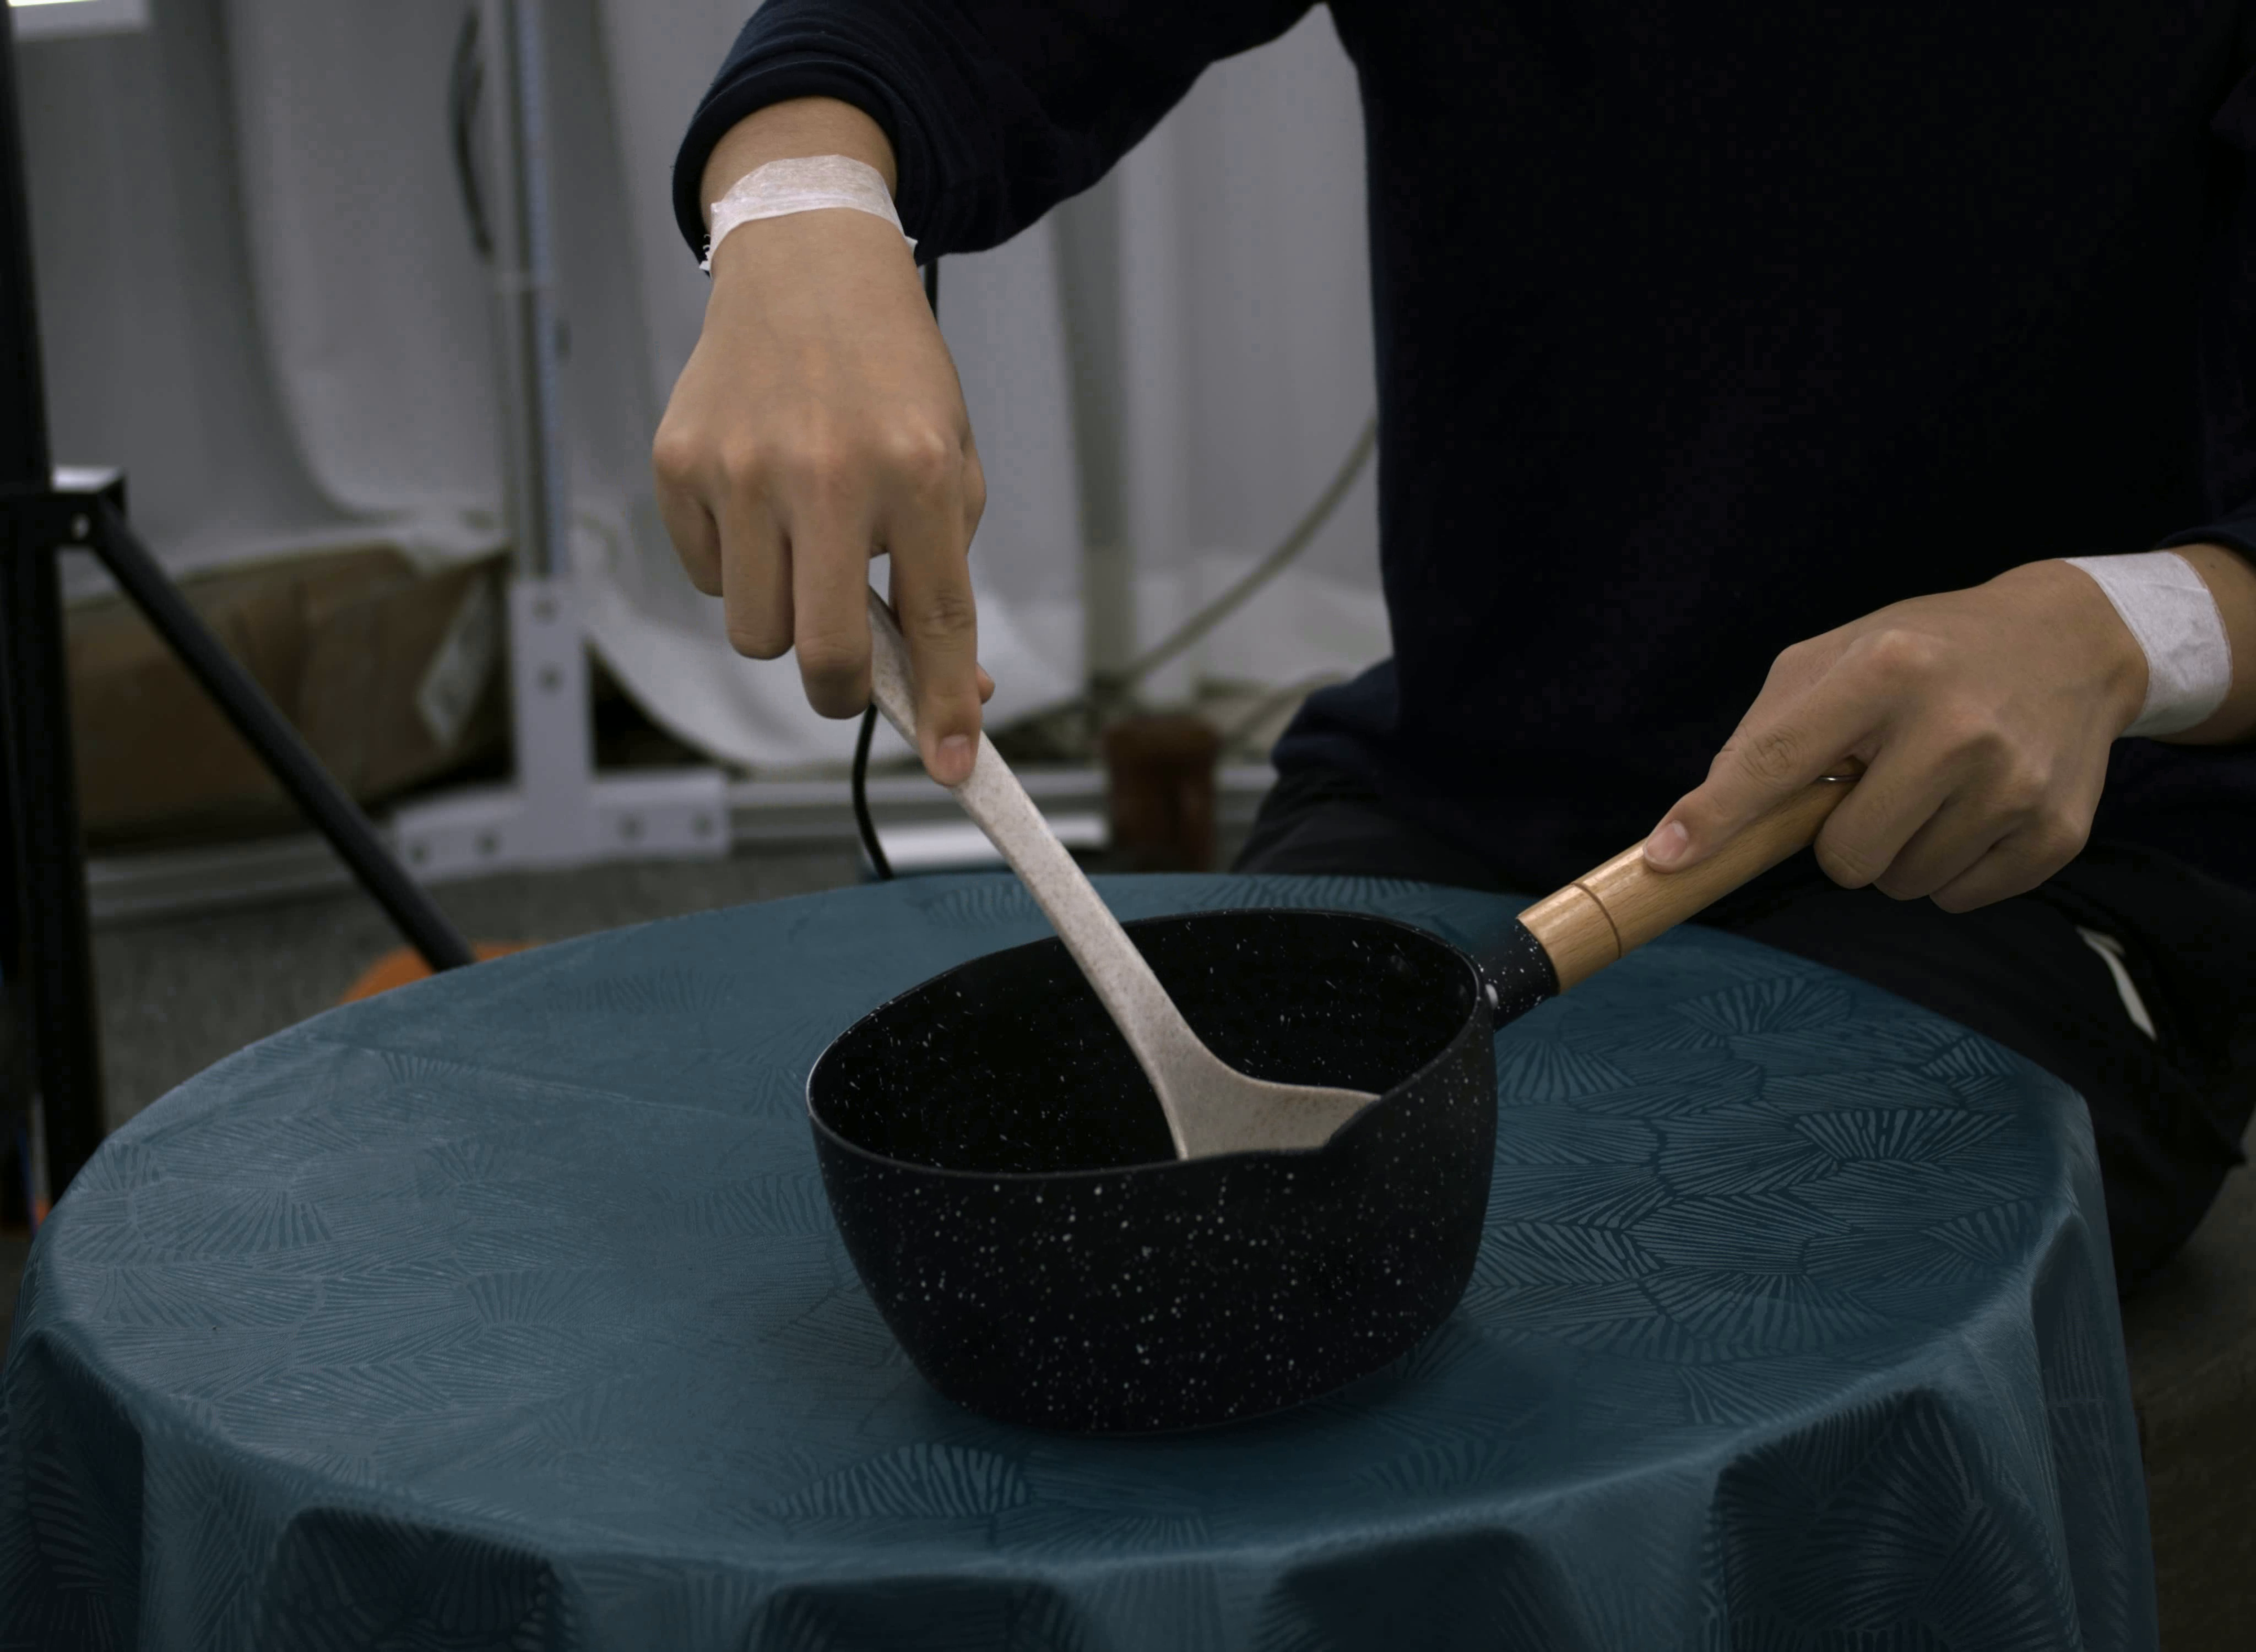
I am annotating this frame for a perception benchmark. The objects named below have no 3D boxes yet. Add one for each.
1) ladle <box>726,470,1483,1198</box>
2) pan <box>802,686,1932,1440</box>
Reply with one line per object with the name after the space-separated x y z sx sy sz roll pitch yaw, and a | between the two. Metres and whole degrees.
-0.008 0.008 1.410 0.088 0.275 0.070 -36 2 -43 | ladle
0.078 0.061 1.445 0.337 0.108 0.211 -19 19 -21 | pan
